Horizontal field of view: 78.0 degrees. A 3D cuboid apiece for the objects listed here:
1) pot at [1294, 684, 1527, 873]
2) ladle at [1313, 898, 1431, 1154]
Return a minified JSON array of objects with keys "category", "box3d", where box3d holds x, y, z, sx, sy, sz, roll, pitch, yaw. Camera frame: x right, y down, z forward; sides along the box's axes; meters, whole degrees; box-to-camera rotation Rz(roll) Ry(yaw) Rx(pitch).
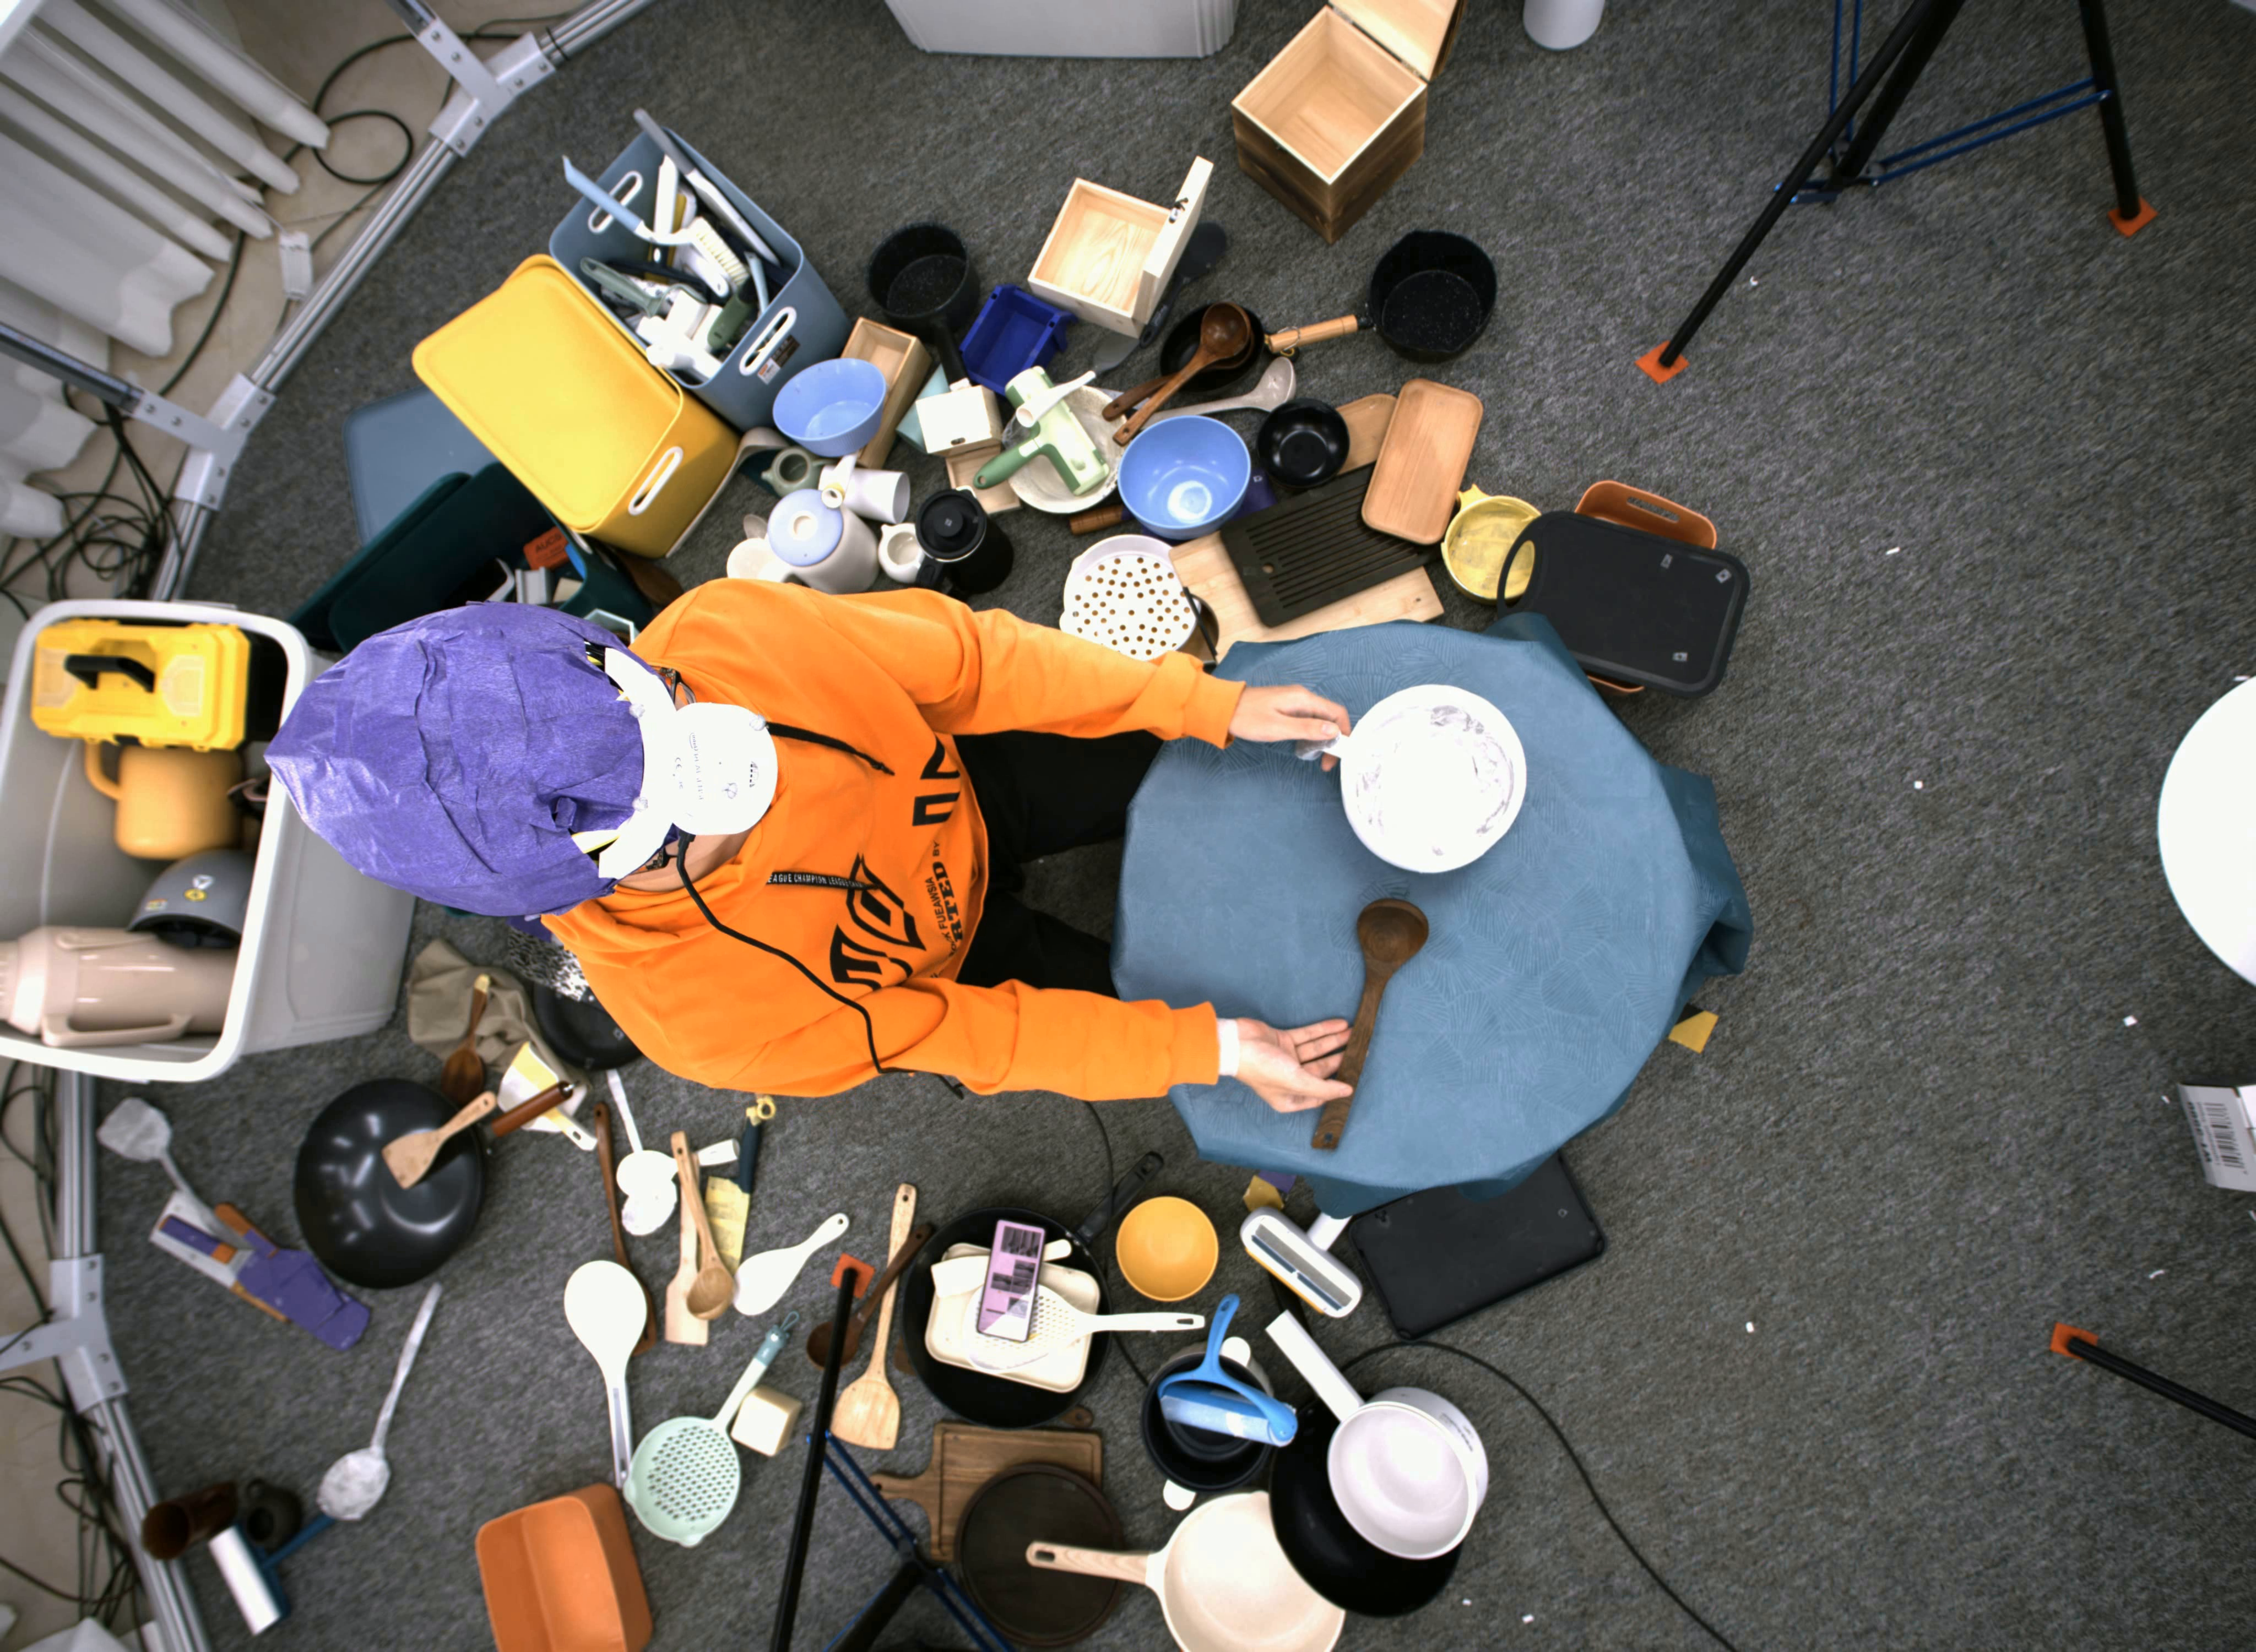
[{"category":"pot","box3d":[0.279,-0.054,1.395,0.234,0.137,0.178,20,89,10]},{"category":"ladle","box3d":[0.242,0.206,1.422,0.076,0.071,0.273,18,89,11]}]
